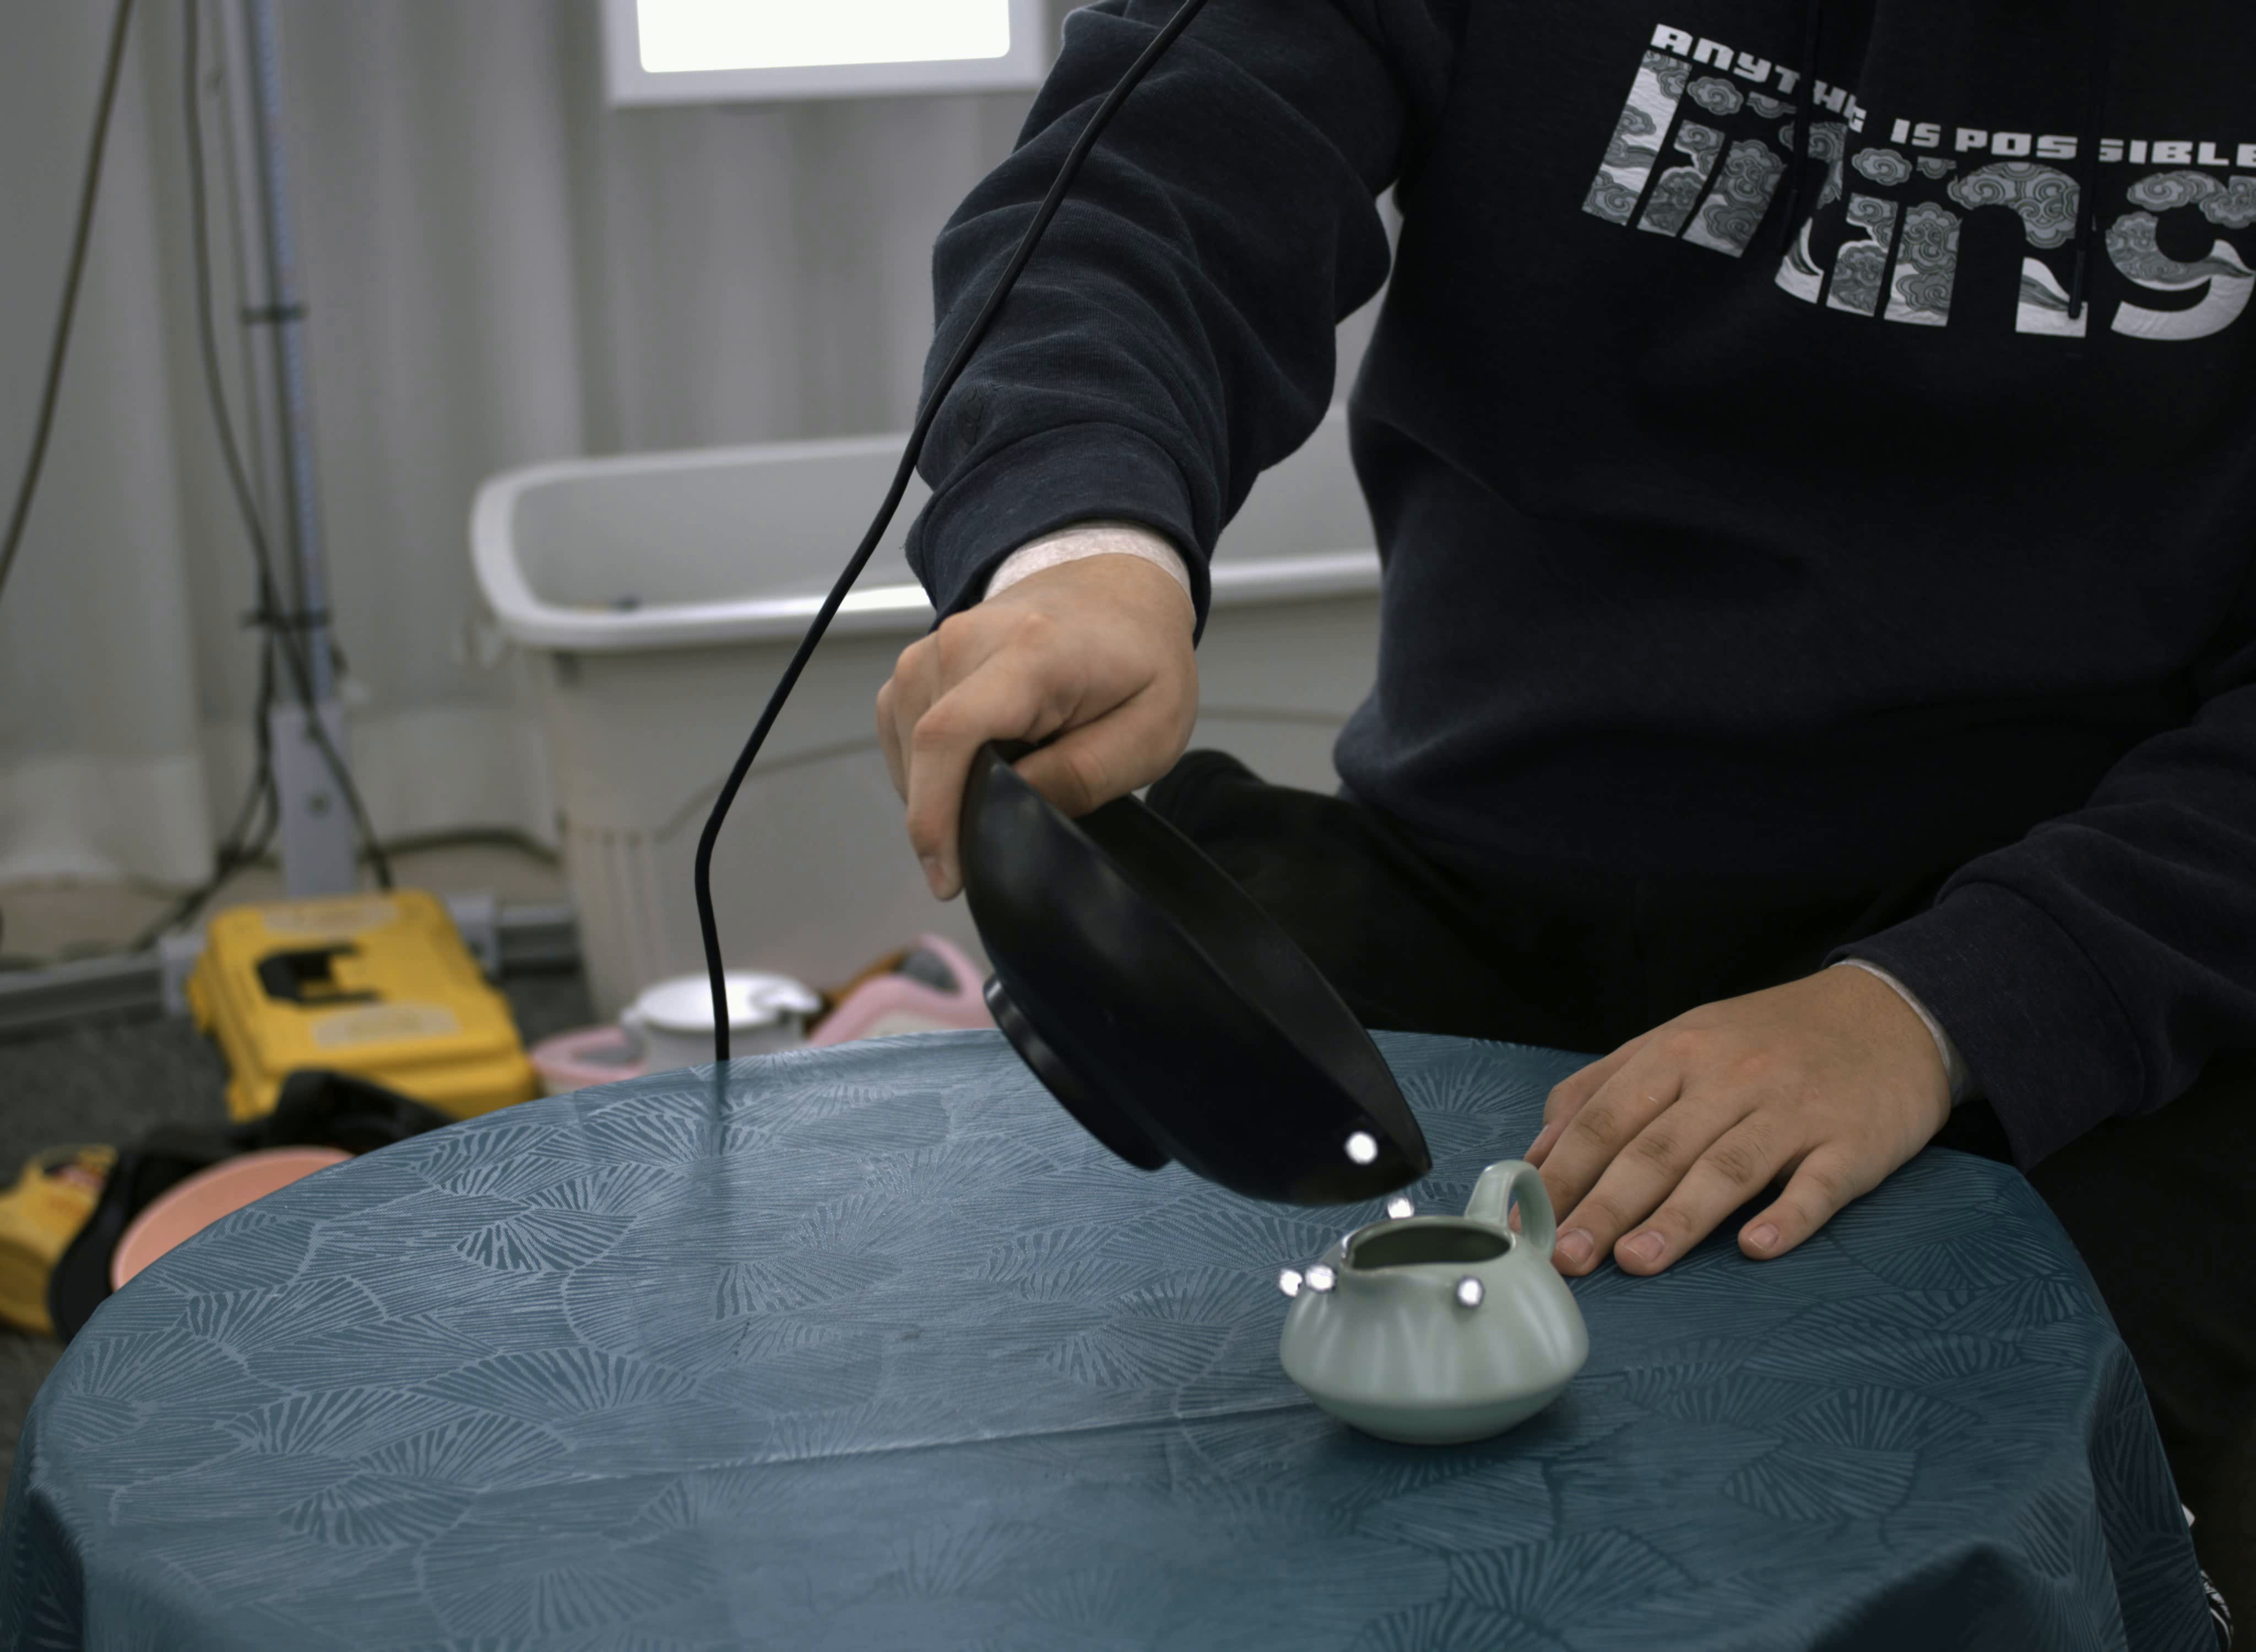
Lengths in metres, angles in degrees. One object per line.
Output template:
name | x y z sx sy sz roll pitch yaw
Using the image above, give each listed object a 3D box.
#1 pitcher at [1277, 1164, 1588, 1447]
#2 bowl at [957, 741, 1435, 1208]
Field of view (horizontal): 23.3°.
pitcher | 0.090 0.134 1.522 0.086 0.060 0.108 6 16 30
bowl | 0.007 0.050 1.497 0.066 0.170 0.138 -44 5 8
